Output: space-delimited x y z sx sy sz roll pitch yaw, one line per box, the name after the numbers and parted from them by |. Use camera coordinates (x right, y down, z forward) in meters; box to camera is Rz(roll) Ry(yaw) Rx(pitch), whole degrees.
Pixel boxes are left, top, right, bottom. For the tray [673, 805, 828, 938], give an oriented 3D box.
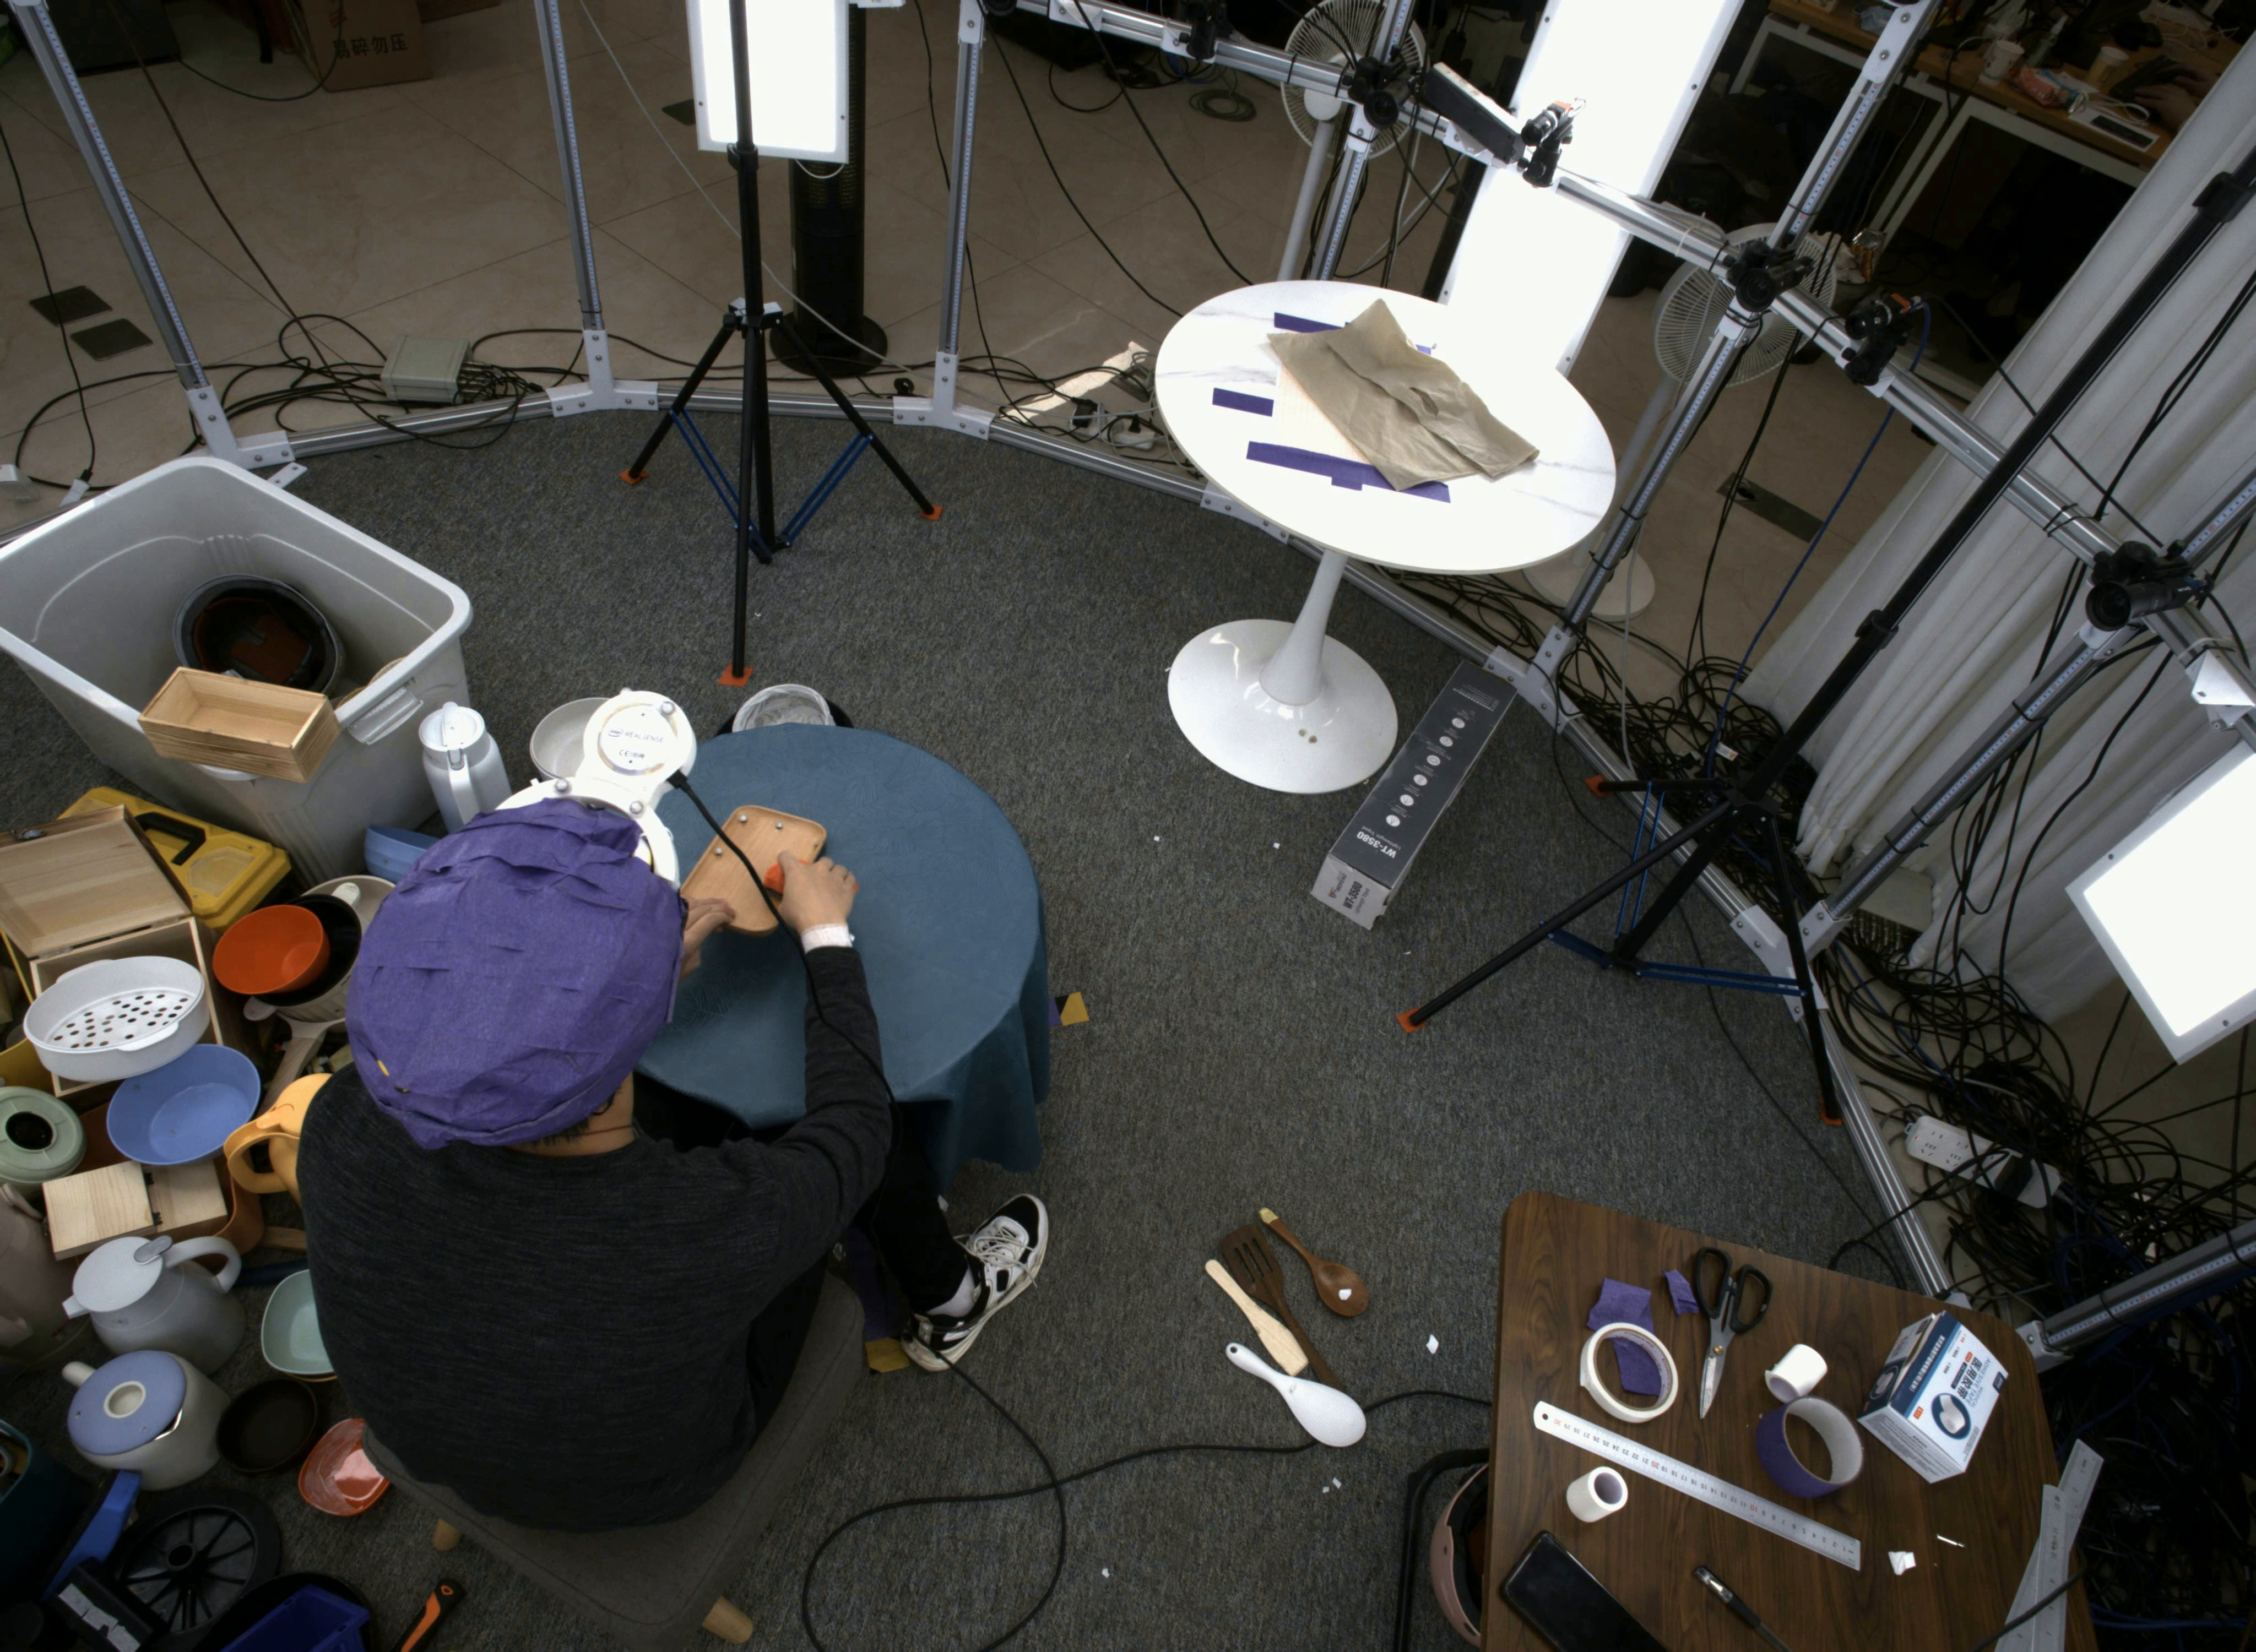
-0.465 0.052 1.607 0.130 0.023 0.246 15 32 -2 | tray

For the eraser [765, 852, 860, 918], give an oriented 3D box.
-0.386 0.070 1.586 0.106 0.023 0.058 23 36 8 | eraser
